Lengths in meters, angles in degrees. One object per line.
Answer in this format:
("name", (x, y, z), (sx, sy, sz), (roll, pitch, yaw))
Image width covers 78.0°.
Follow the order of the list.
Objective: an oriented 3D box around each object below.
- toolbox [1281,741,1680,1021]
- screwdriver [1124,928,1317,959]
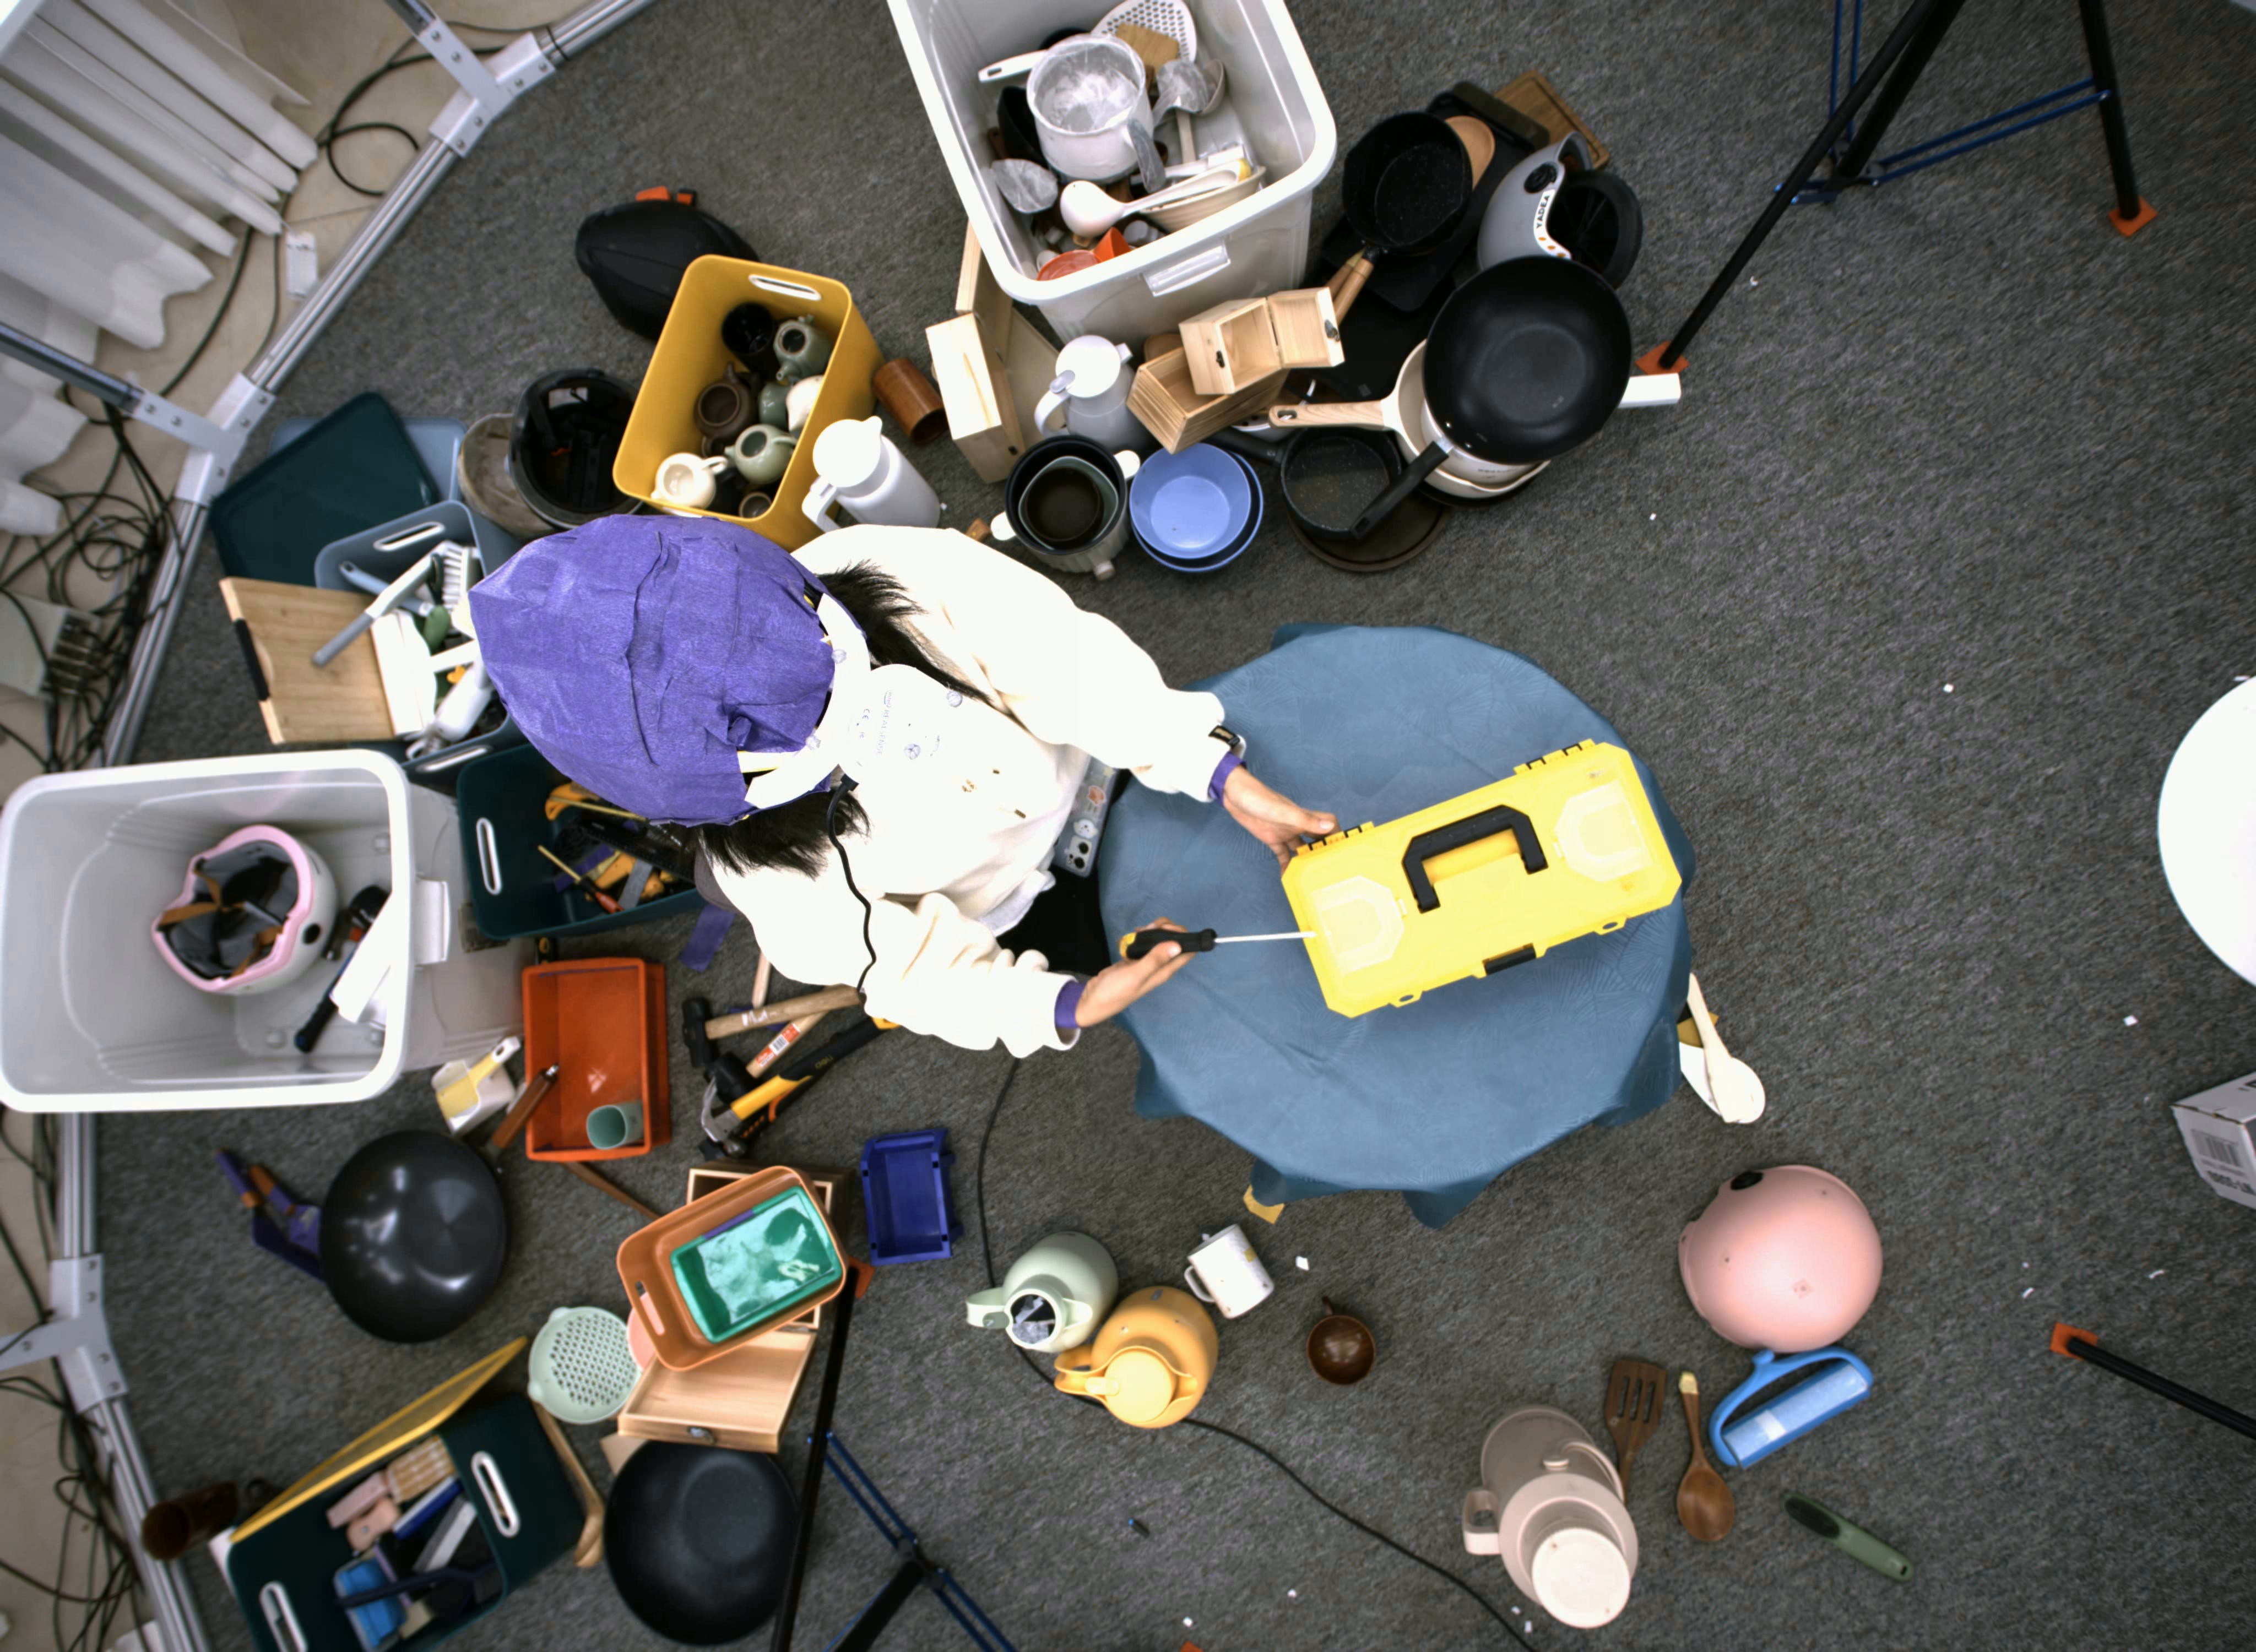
("toolbox", (0.341, 0.056, 1.360), (0.353, 0.173, 0.180), (-20, 82, 8))
("screwdriver", (0.089, 0.113, 1.343), (0.197, 0.031, 0.031), (-2, 84, 22))
